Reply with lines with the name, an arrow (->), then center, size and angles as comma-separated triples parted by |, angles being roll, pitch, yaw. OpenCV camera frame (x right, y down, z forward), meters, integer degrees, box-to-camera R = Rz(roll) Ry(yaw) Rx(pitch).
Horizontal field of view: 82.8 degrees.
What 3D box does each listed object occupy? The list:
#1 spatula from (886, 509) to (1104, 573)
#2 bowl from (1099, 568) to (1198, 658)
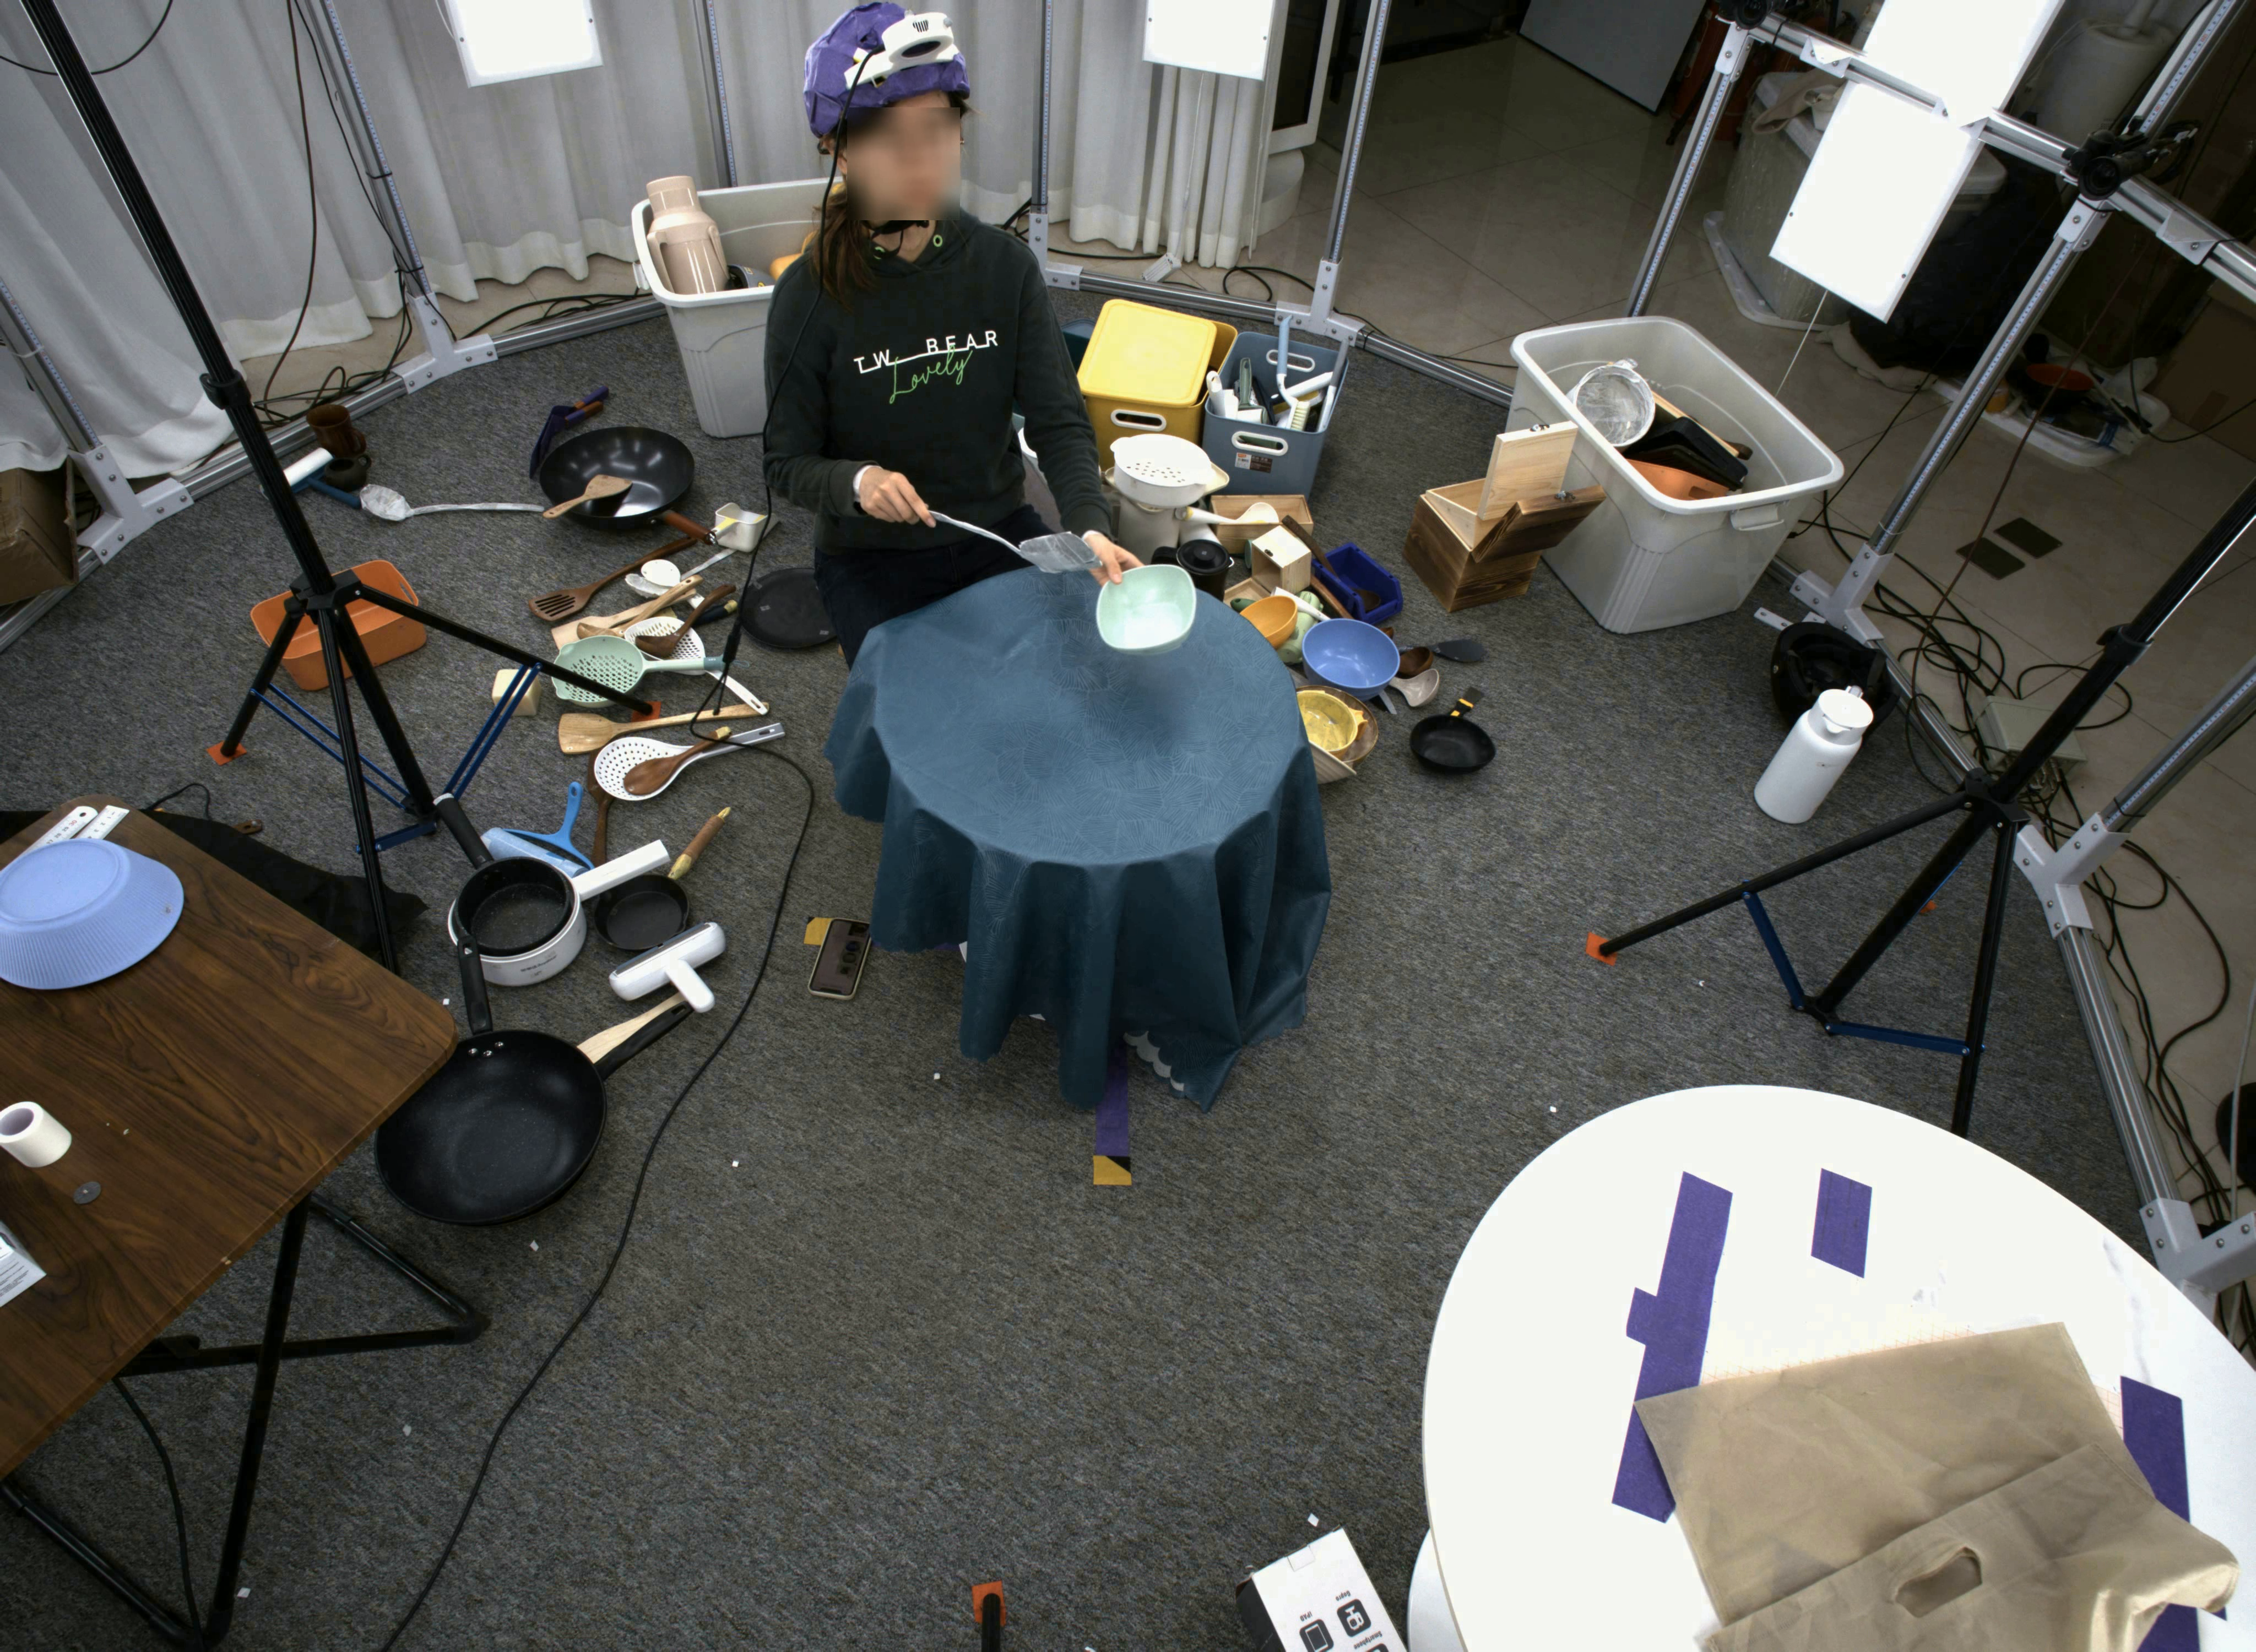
spatula -> -0.196, -0.400, 1.759 | 0.369, 0.097, 0.045 | 24, 85, 30
bowl -> 0.033, -0.286, 1.792 | 0.151, 0.057, 0.155 | -6, 60, 10
